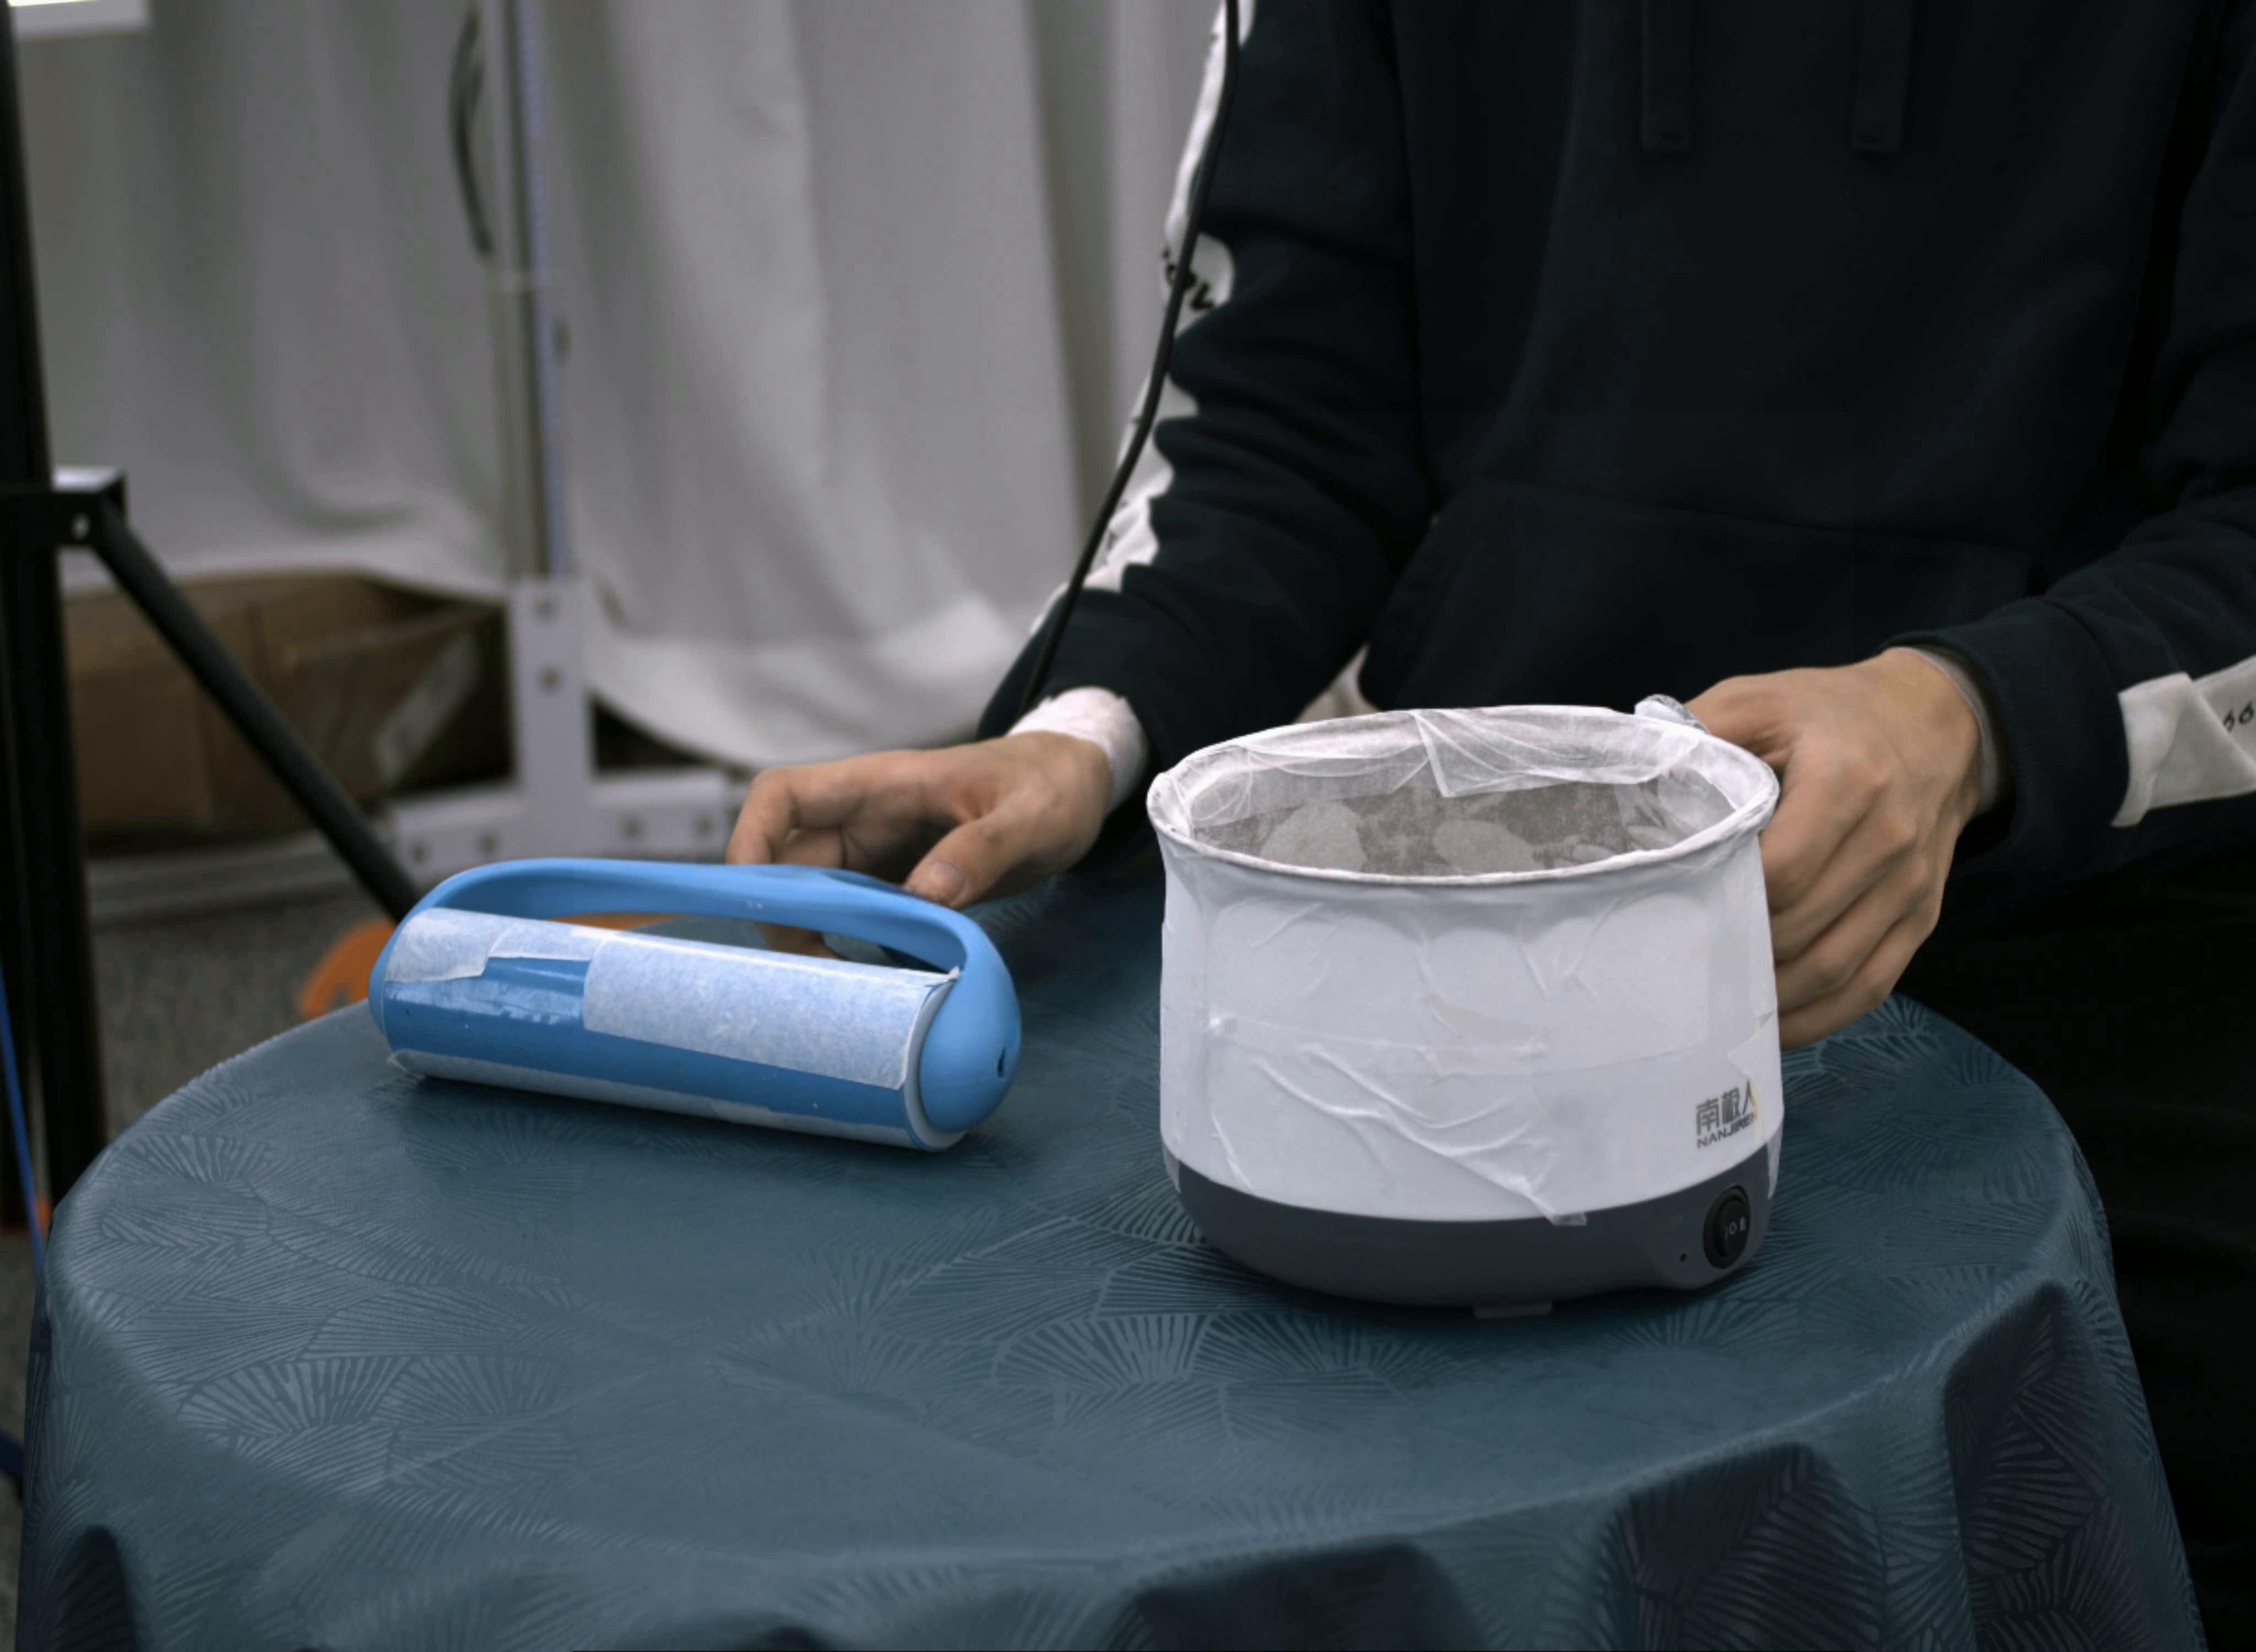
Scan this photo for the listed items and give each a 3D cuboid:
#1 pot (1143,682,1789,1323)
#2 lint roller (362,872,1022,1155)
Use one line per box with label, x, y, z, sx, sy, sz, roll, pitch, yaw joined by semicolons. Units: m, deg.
pot;0.112;0.043;1.510;0.182;0.136;0.229;10;22;38
lint roller;-0.113;0.047;1.692;0.232;0.068;0.177;3;18;26
